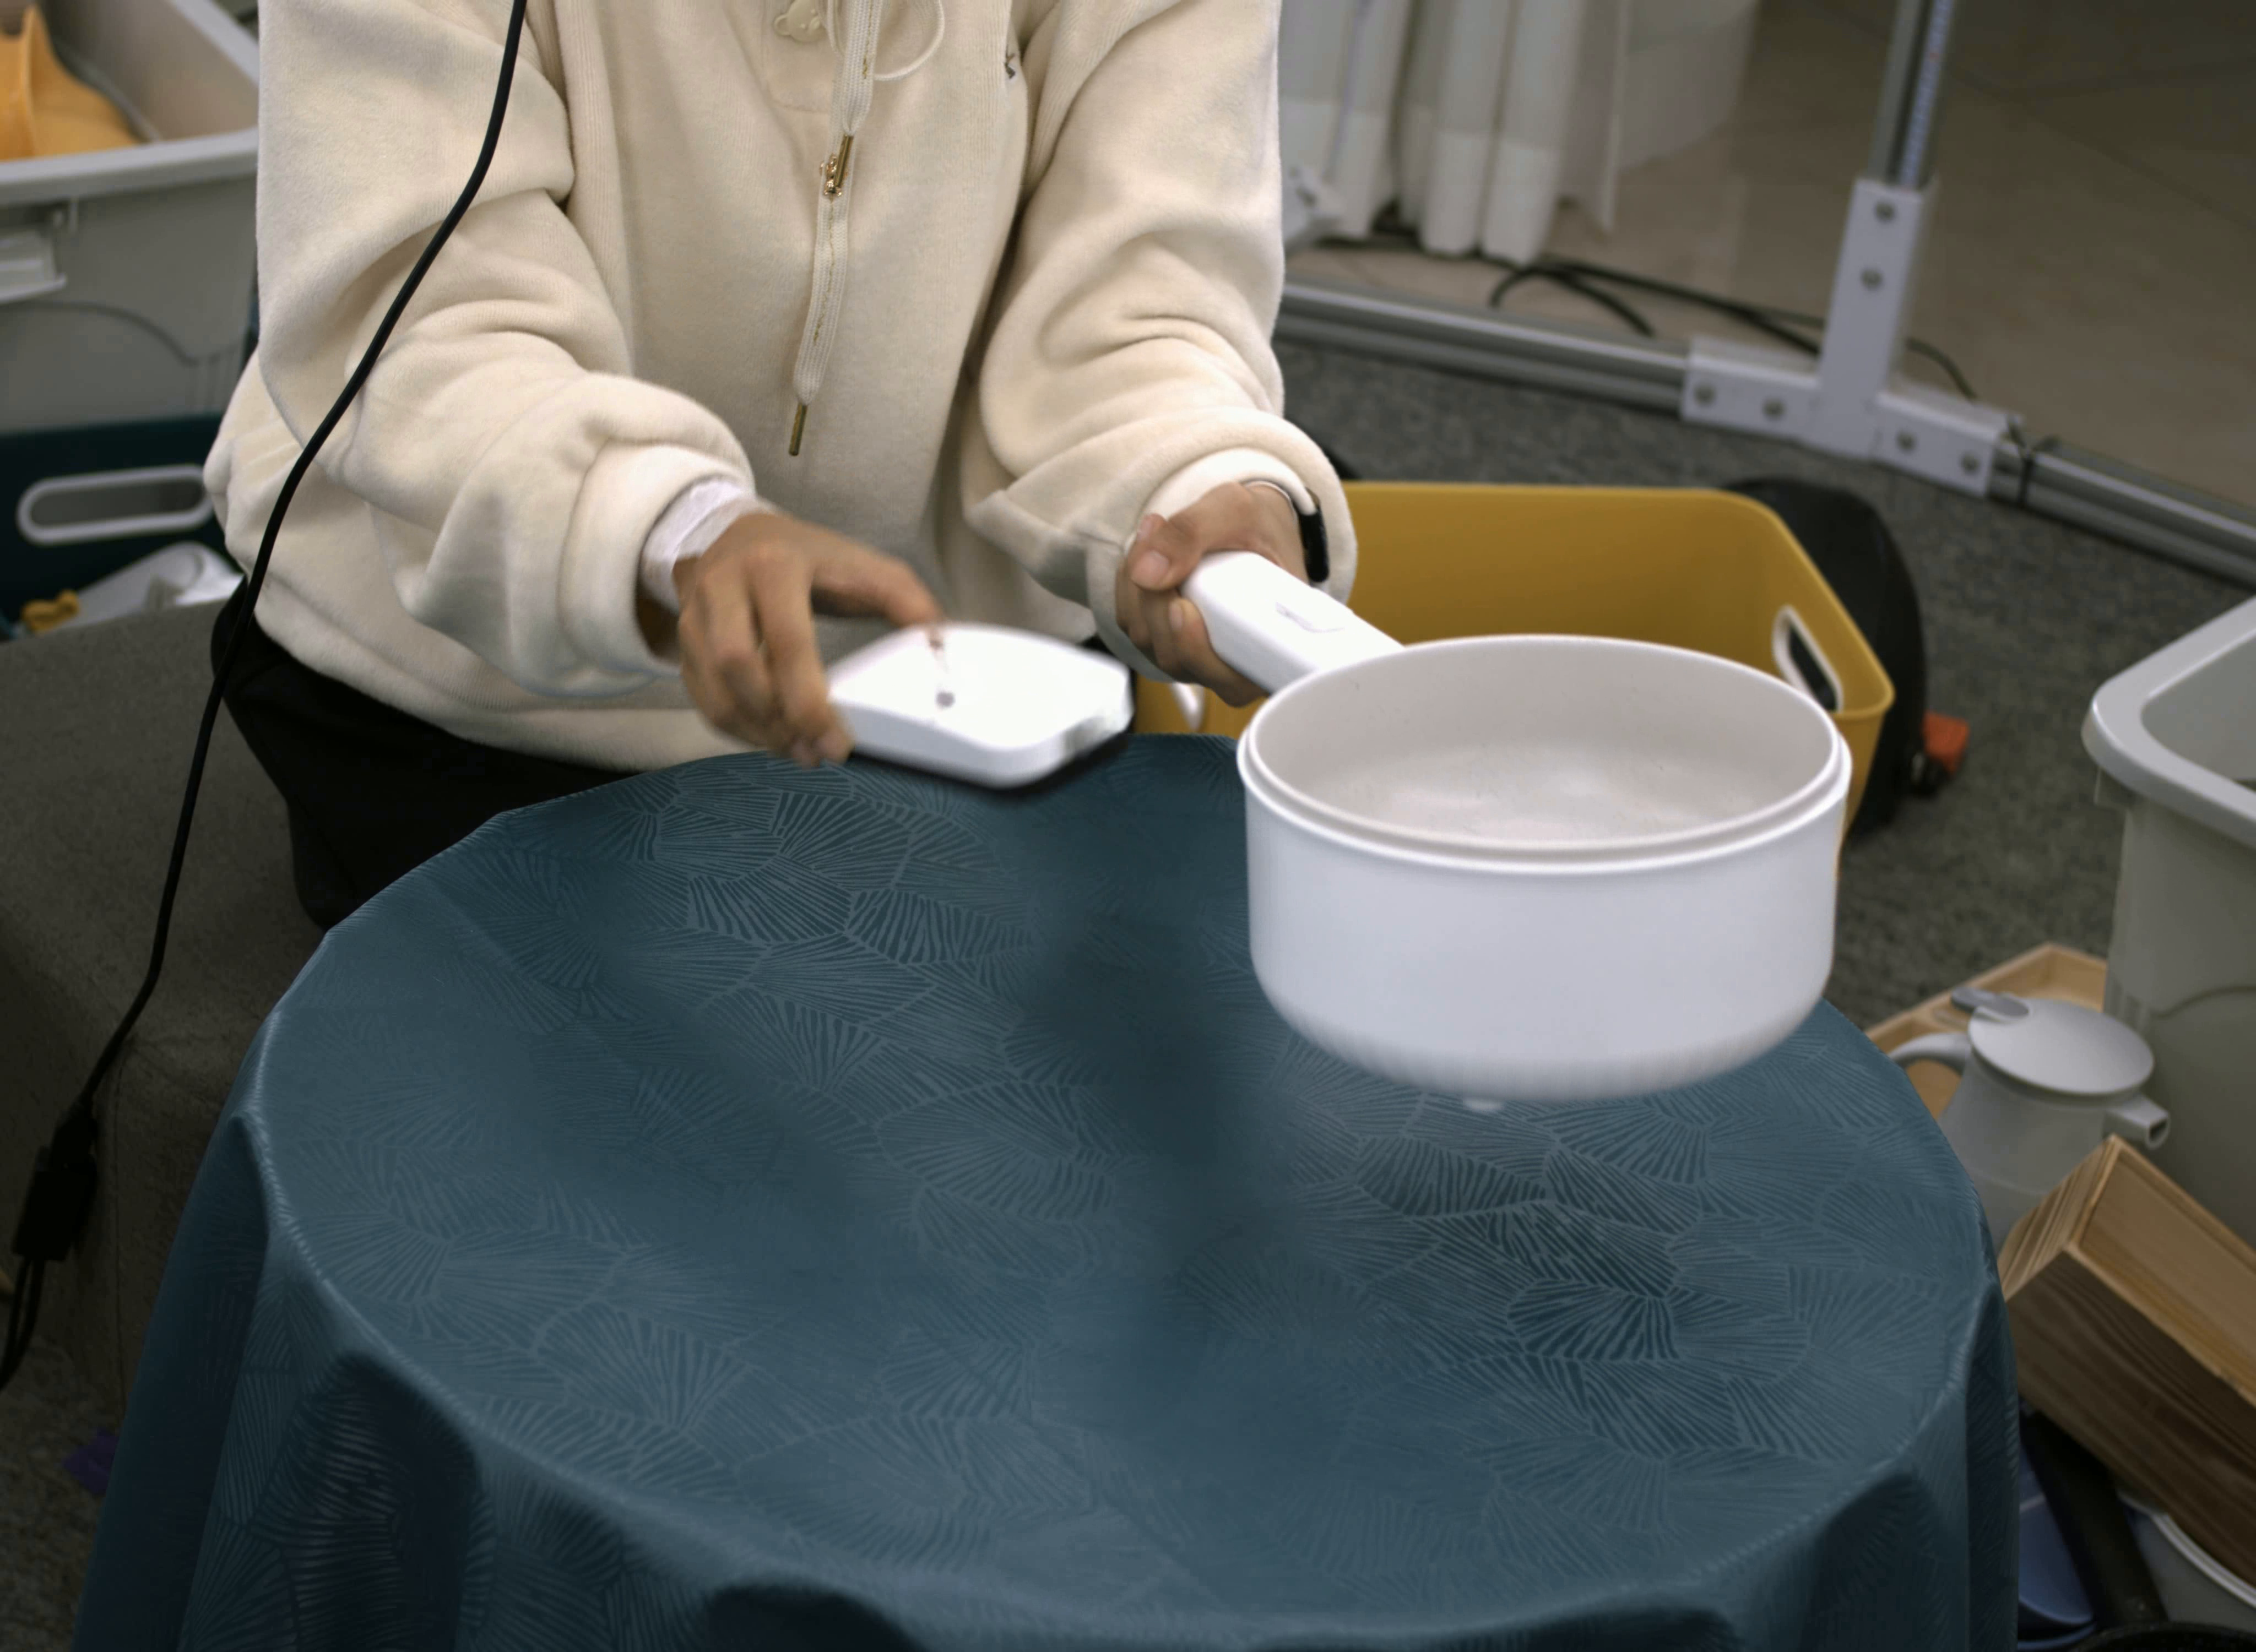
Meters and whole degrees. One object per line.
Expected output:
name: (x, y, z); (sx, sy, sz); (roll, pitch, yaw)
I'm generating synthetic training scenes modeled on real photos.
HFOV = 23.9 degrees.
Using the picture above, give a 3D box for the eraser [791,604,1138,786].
eraser: (-0.054, -0.045, 1.790); (0.063, 0.034, 0.132); (-27, 25, -34)

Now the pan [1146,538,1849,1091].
pan: (0.101, -0.009, 1.824); (0.200, 0.102, 0.357); (-10, 21, -25)
